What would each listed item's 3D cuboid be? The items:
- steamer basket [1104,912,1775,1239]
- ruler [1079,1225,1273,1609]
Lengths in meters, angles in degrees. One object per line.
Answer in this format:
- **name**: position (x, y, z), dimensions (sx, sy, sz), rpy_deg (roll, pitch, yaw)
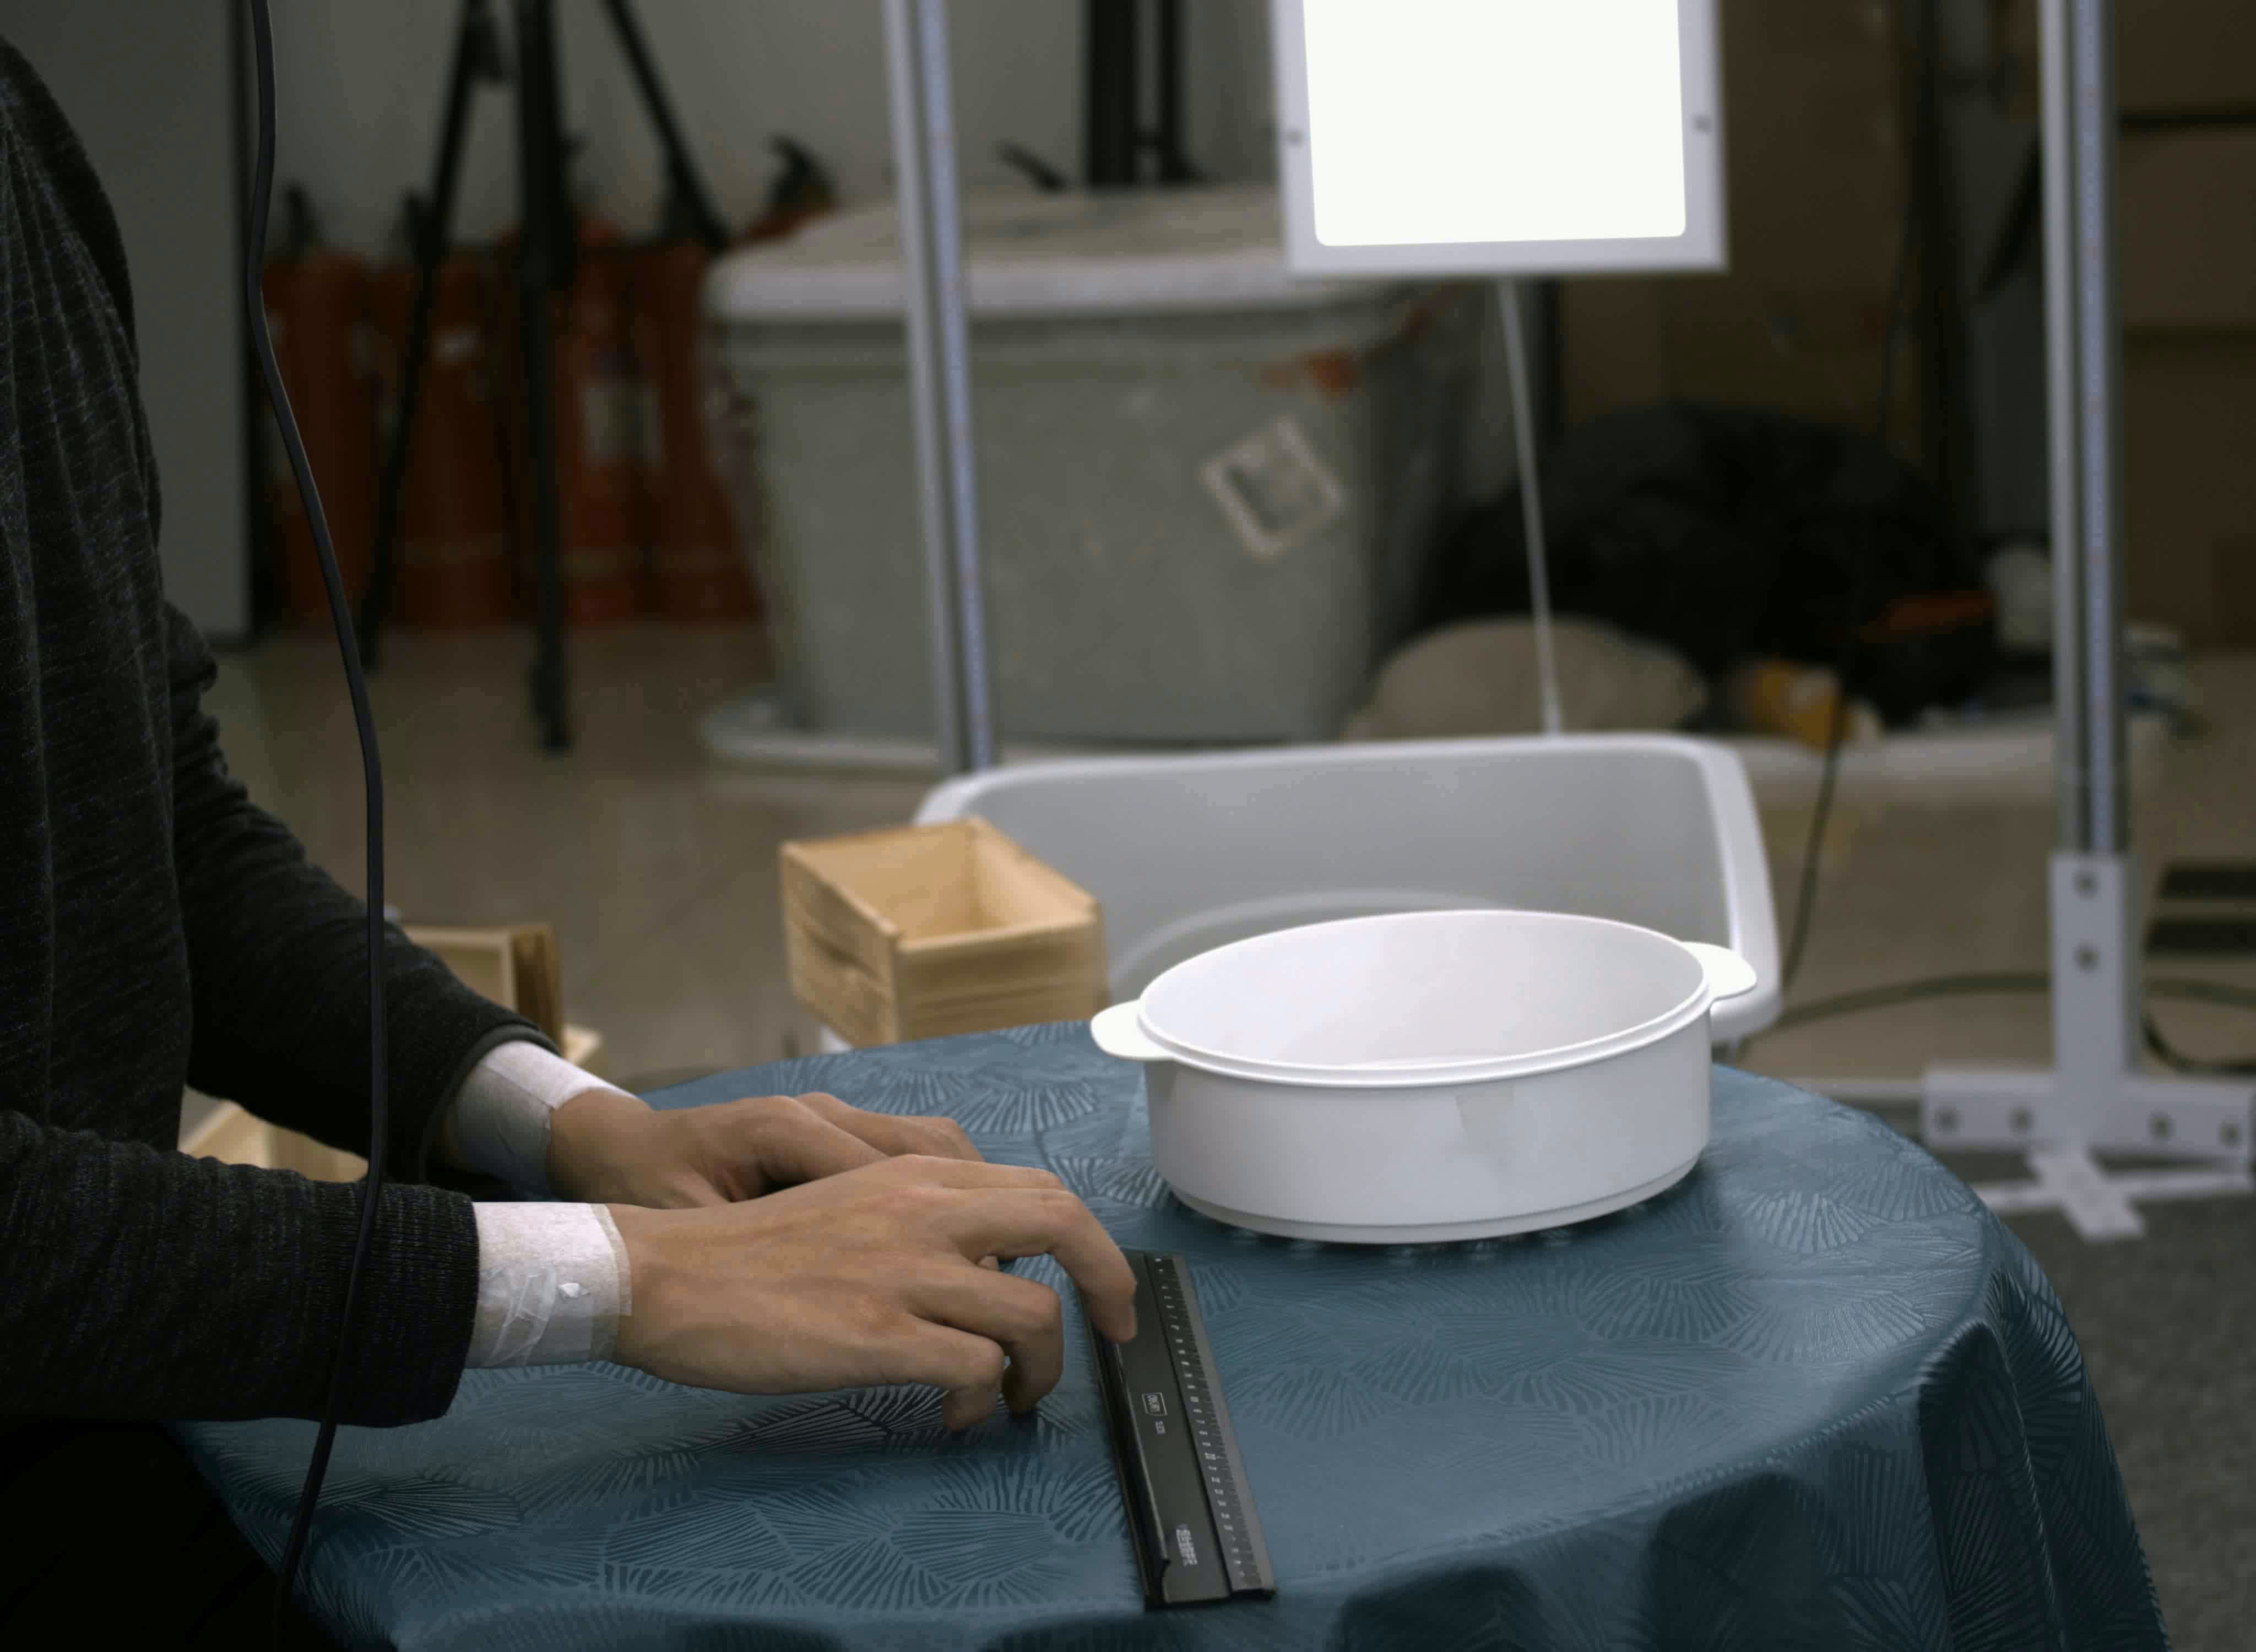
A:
- **steamer basket**: position (0.108, 0.085, 1.883), dimensions (0.229, 0.069, 0.202), rpy_deg (-4, 13, -6)
- **ruler**: position (0.013, 0.173, 1.672), dimensions (0.039, 0.017, 0.312), rpy_deg (-2, 13, -3)
